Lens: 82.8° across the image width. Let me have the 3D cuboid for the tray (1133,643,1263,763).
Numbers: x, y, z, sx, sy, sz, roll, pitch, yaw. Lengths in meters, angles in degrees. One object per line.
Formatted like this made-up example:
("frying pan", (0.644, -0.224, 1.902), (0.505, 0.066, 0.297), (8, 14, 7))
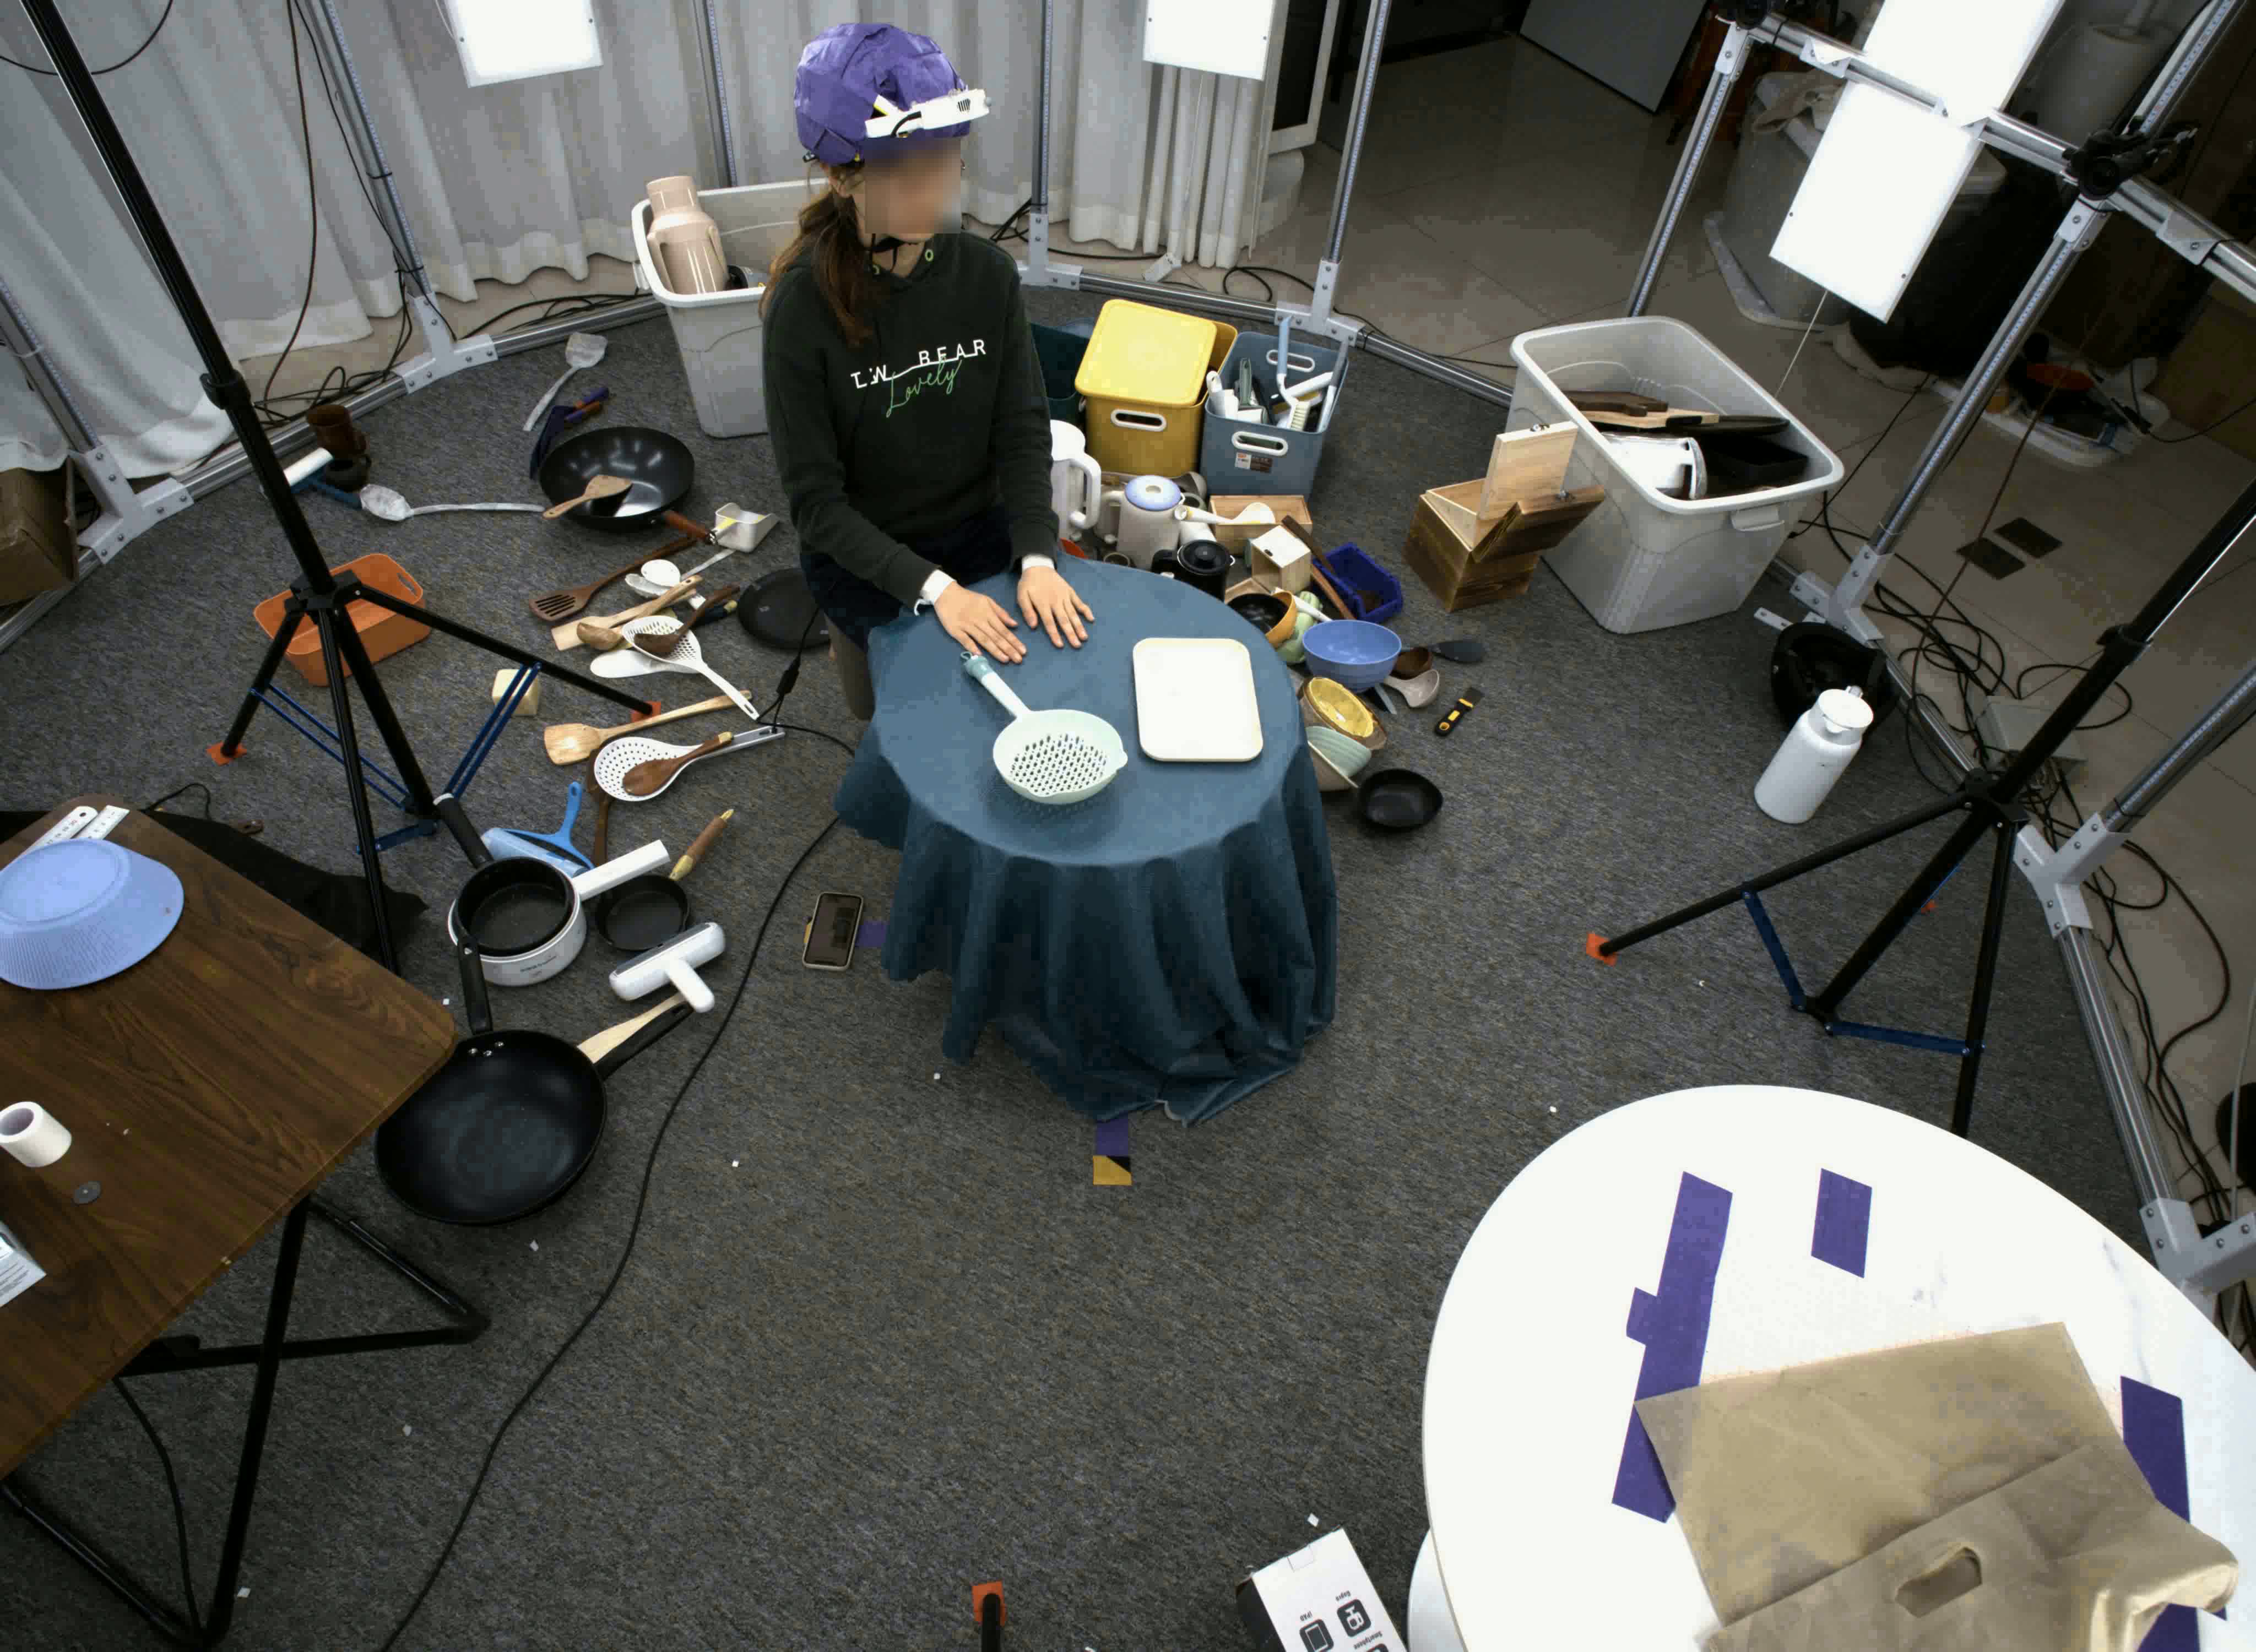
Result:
("tray", (0.097, -0.177, 1.834), (0.171, 0.017, 0.246), (0, 48, -4))

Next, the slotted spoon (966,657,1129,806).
("slotted spoon", (-0.140, -0.146, 1.761), (0.170, 0.073, 0.366), (-22, 53, -22))
